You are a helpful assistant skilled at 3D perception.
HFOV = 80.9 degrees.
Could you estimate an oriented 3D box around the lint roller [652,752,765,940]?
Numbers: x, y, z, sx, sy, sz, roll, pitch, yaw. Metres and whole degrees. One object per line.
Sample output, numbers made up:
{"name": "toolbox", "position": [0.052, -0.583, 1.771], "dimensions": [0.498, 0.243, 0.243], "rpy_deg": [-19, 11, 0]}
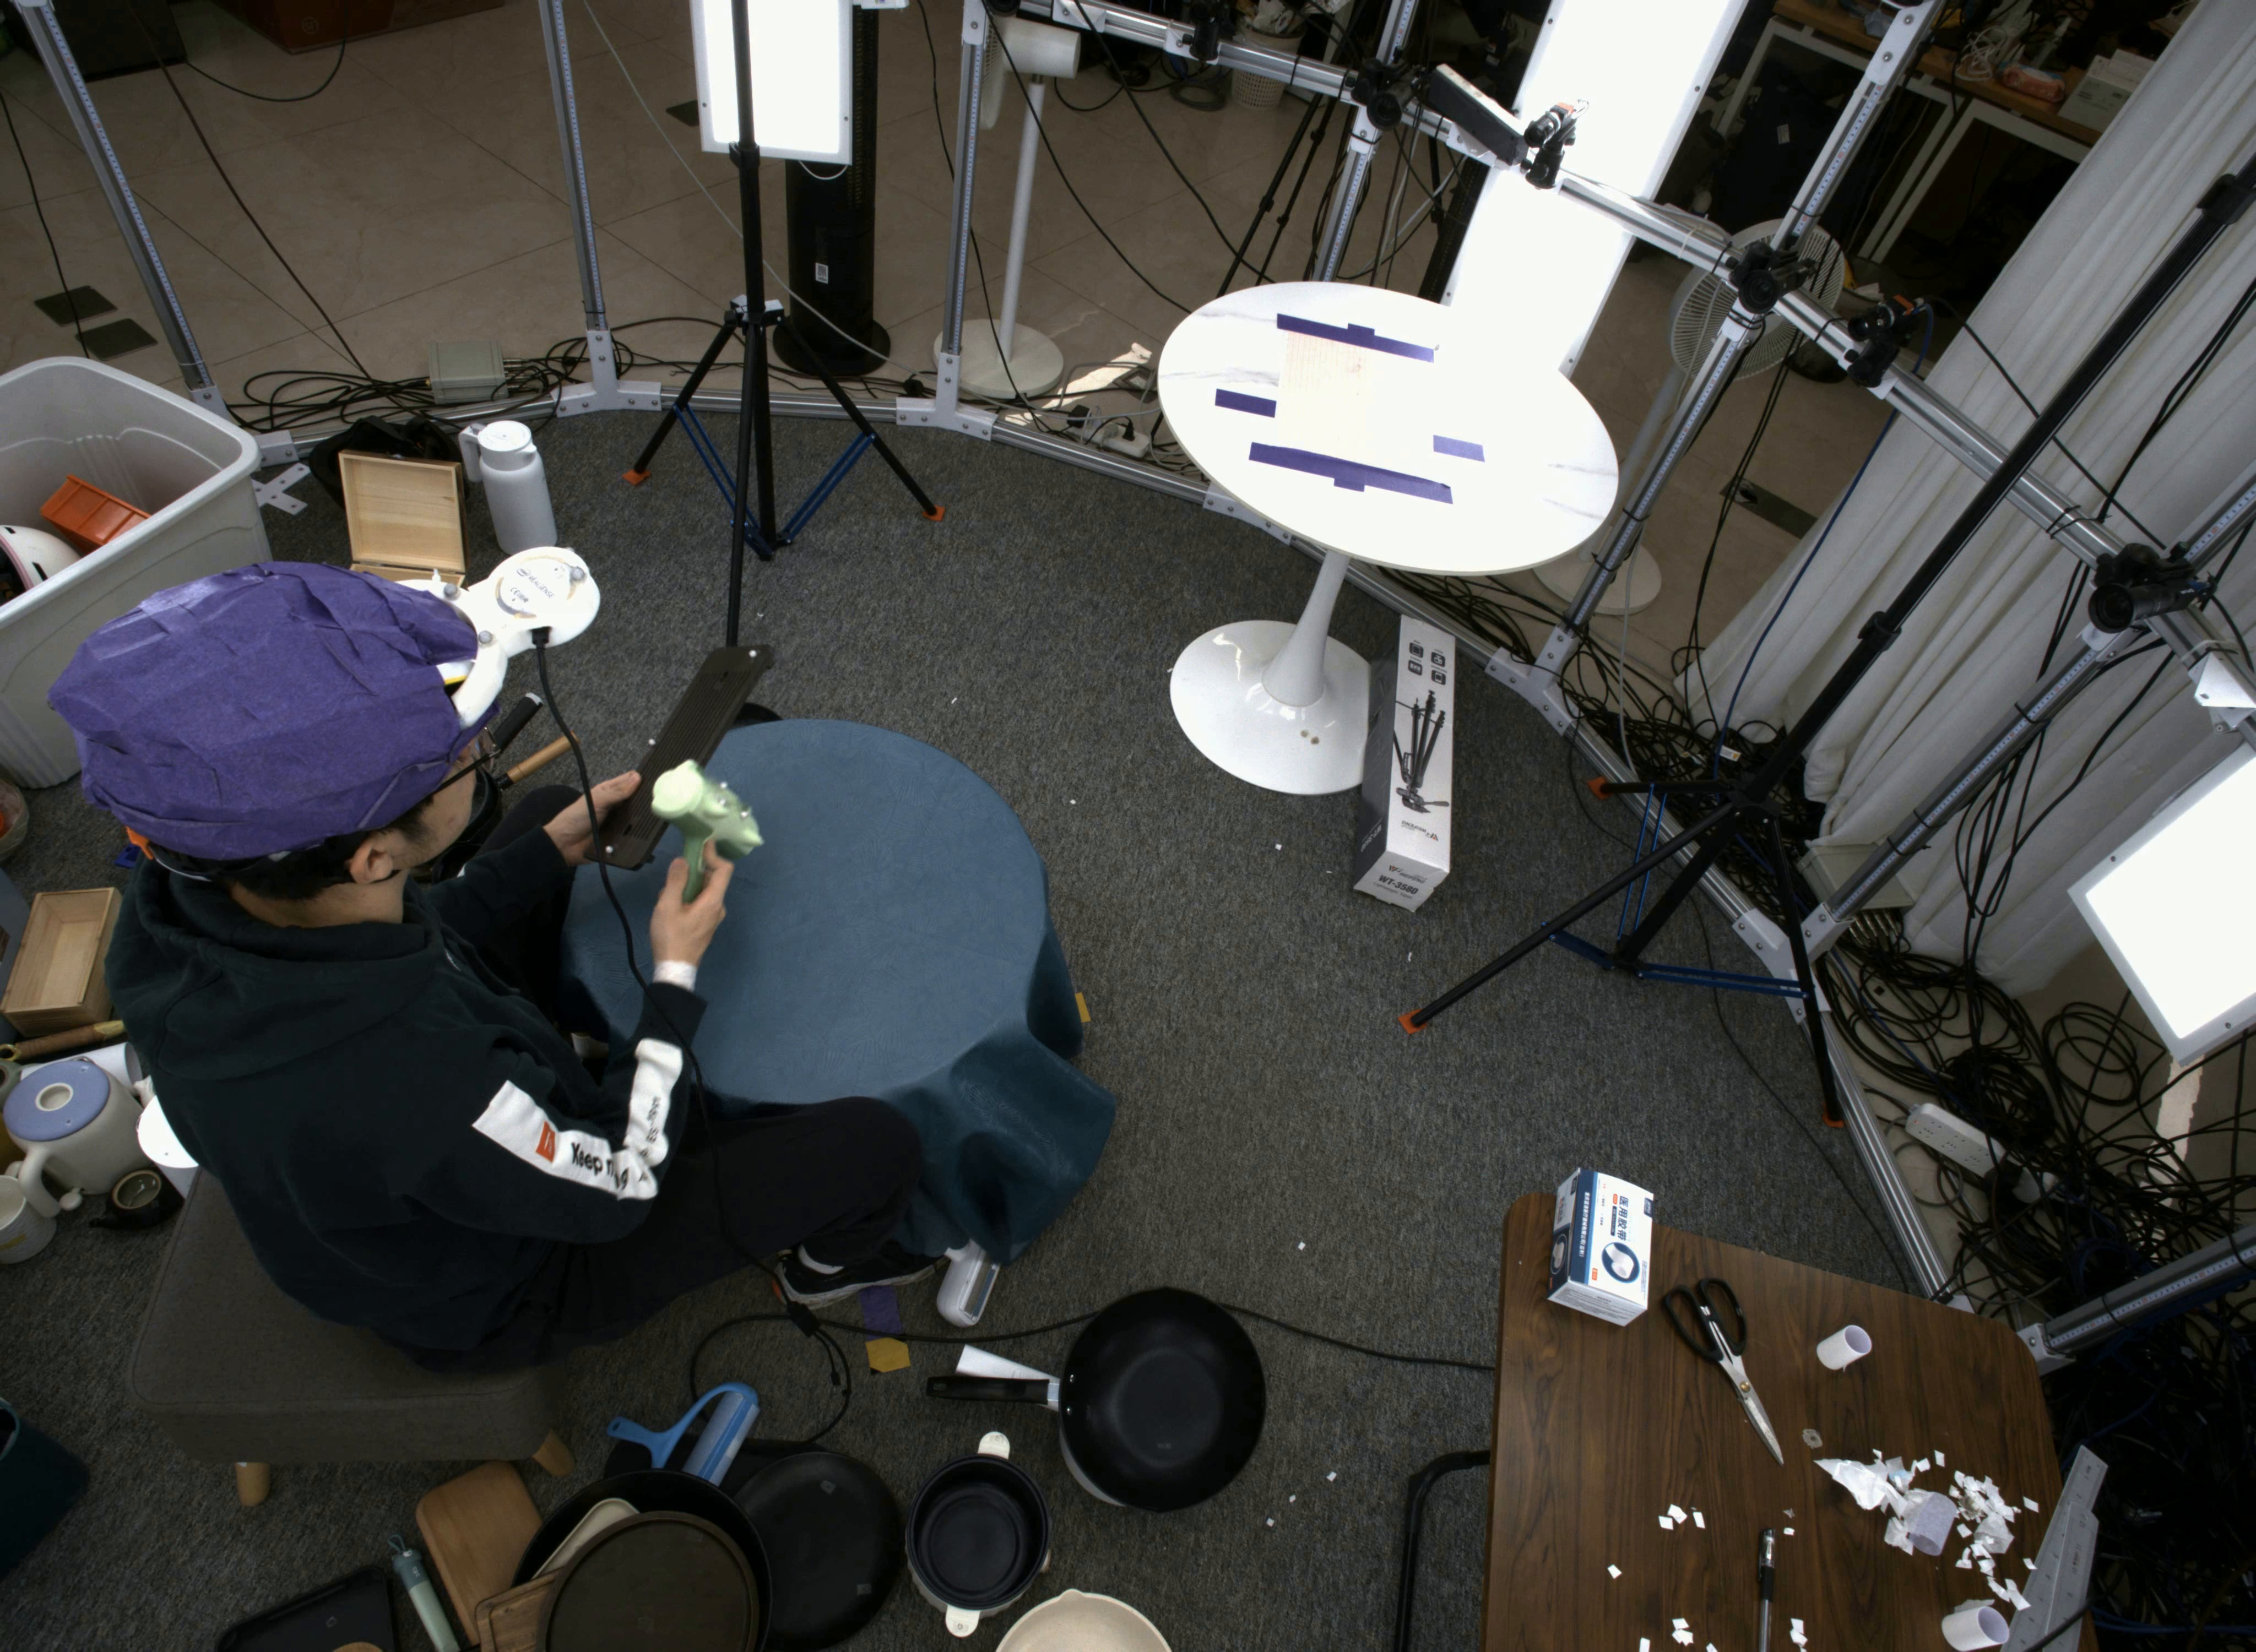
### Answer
{"name": "lint roller", "position": [-0.468, 0.035, 1.431], "dimensions": [0.081, 0.202, 0.183], "rpy_deg": [3, 75, 5]}

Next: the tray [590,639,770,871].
{"name": "tray", "position": [-0.528, -0.086, 1.511], "dimensions": [0.019, 0.164, 0.306], "rpy_deg": [39, 69, -37]}
